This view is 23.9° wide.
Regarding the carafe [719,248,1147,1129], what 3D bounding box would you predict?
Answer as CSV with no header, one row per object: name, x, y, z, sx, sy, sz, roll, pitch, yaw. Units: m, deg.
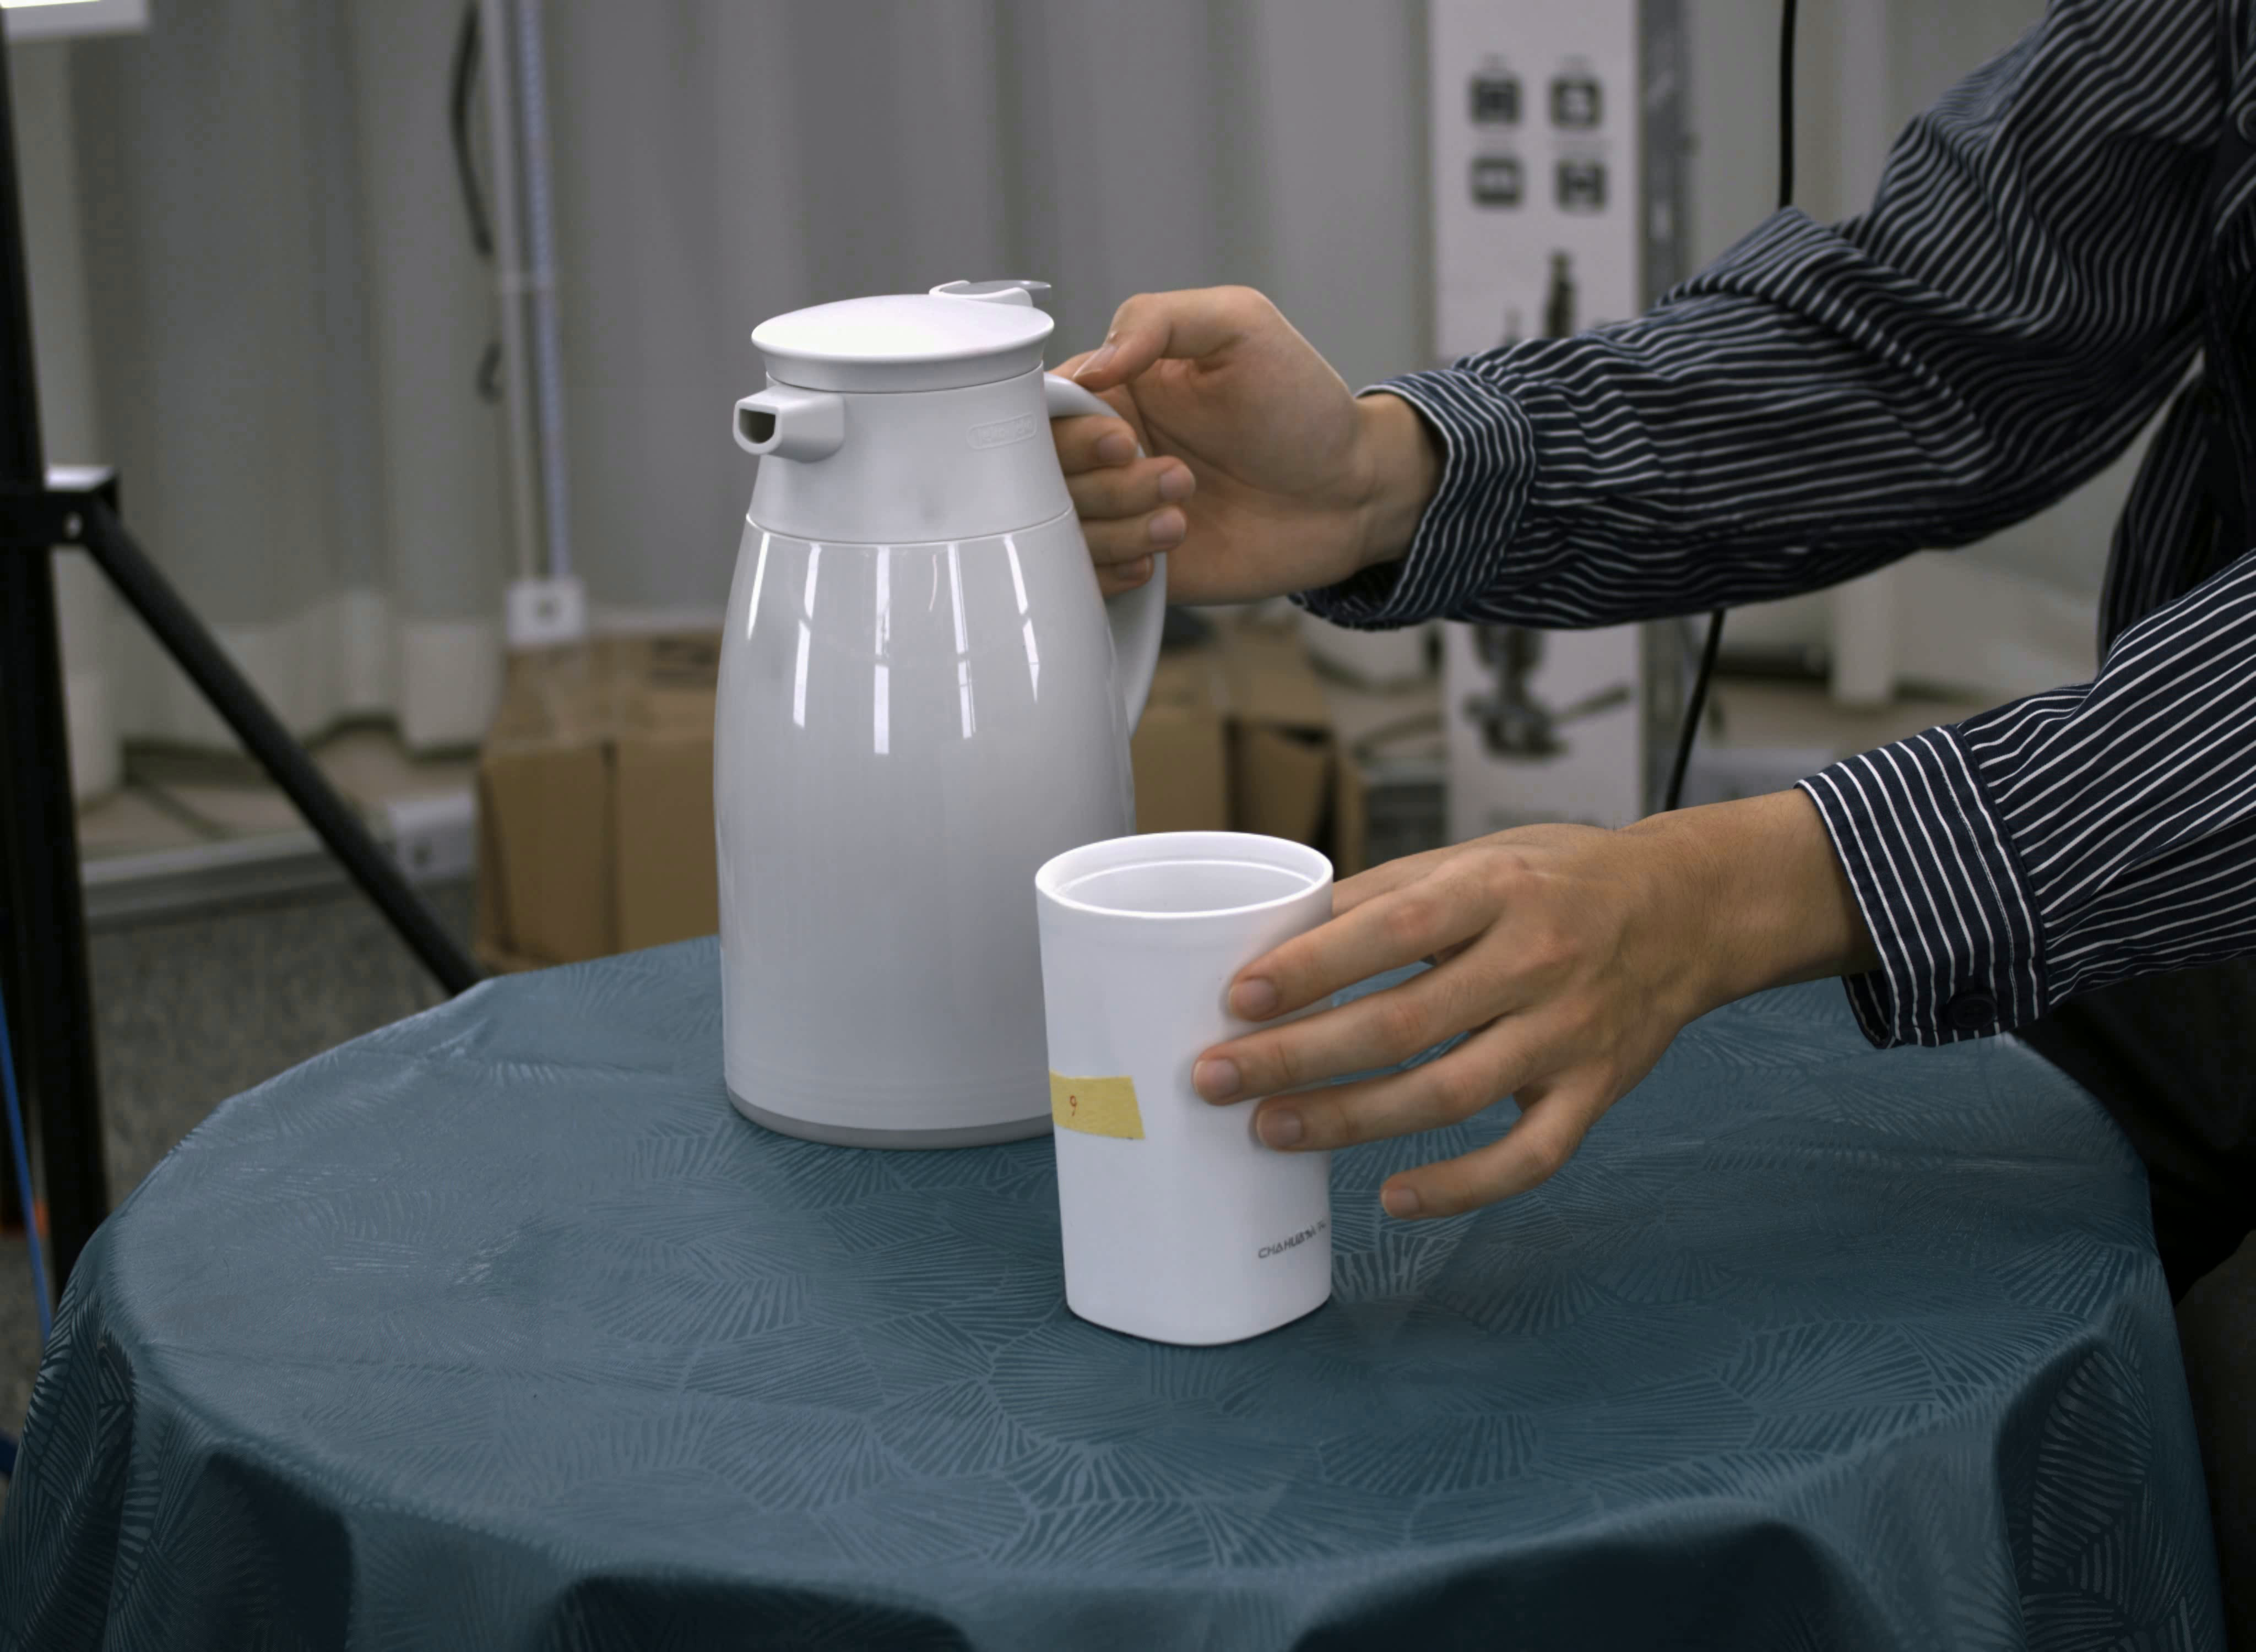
carafe,-0.053,-0.051,1.655,0.135,0.248,0.164,7,20,37

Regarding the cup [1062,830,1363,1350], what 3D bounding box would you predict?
cup,0.026,0.072,1.445,0.081,0.125,0.082,-3,14,-1
